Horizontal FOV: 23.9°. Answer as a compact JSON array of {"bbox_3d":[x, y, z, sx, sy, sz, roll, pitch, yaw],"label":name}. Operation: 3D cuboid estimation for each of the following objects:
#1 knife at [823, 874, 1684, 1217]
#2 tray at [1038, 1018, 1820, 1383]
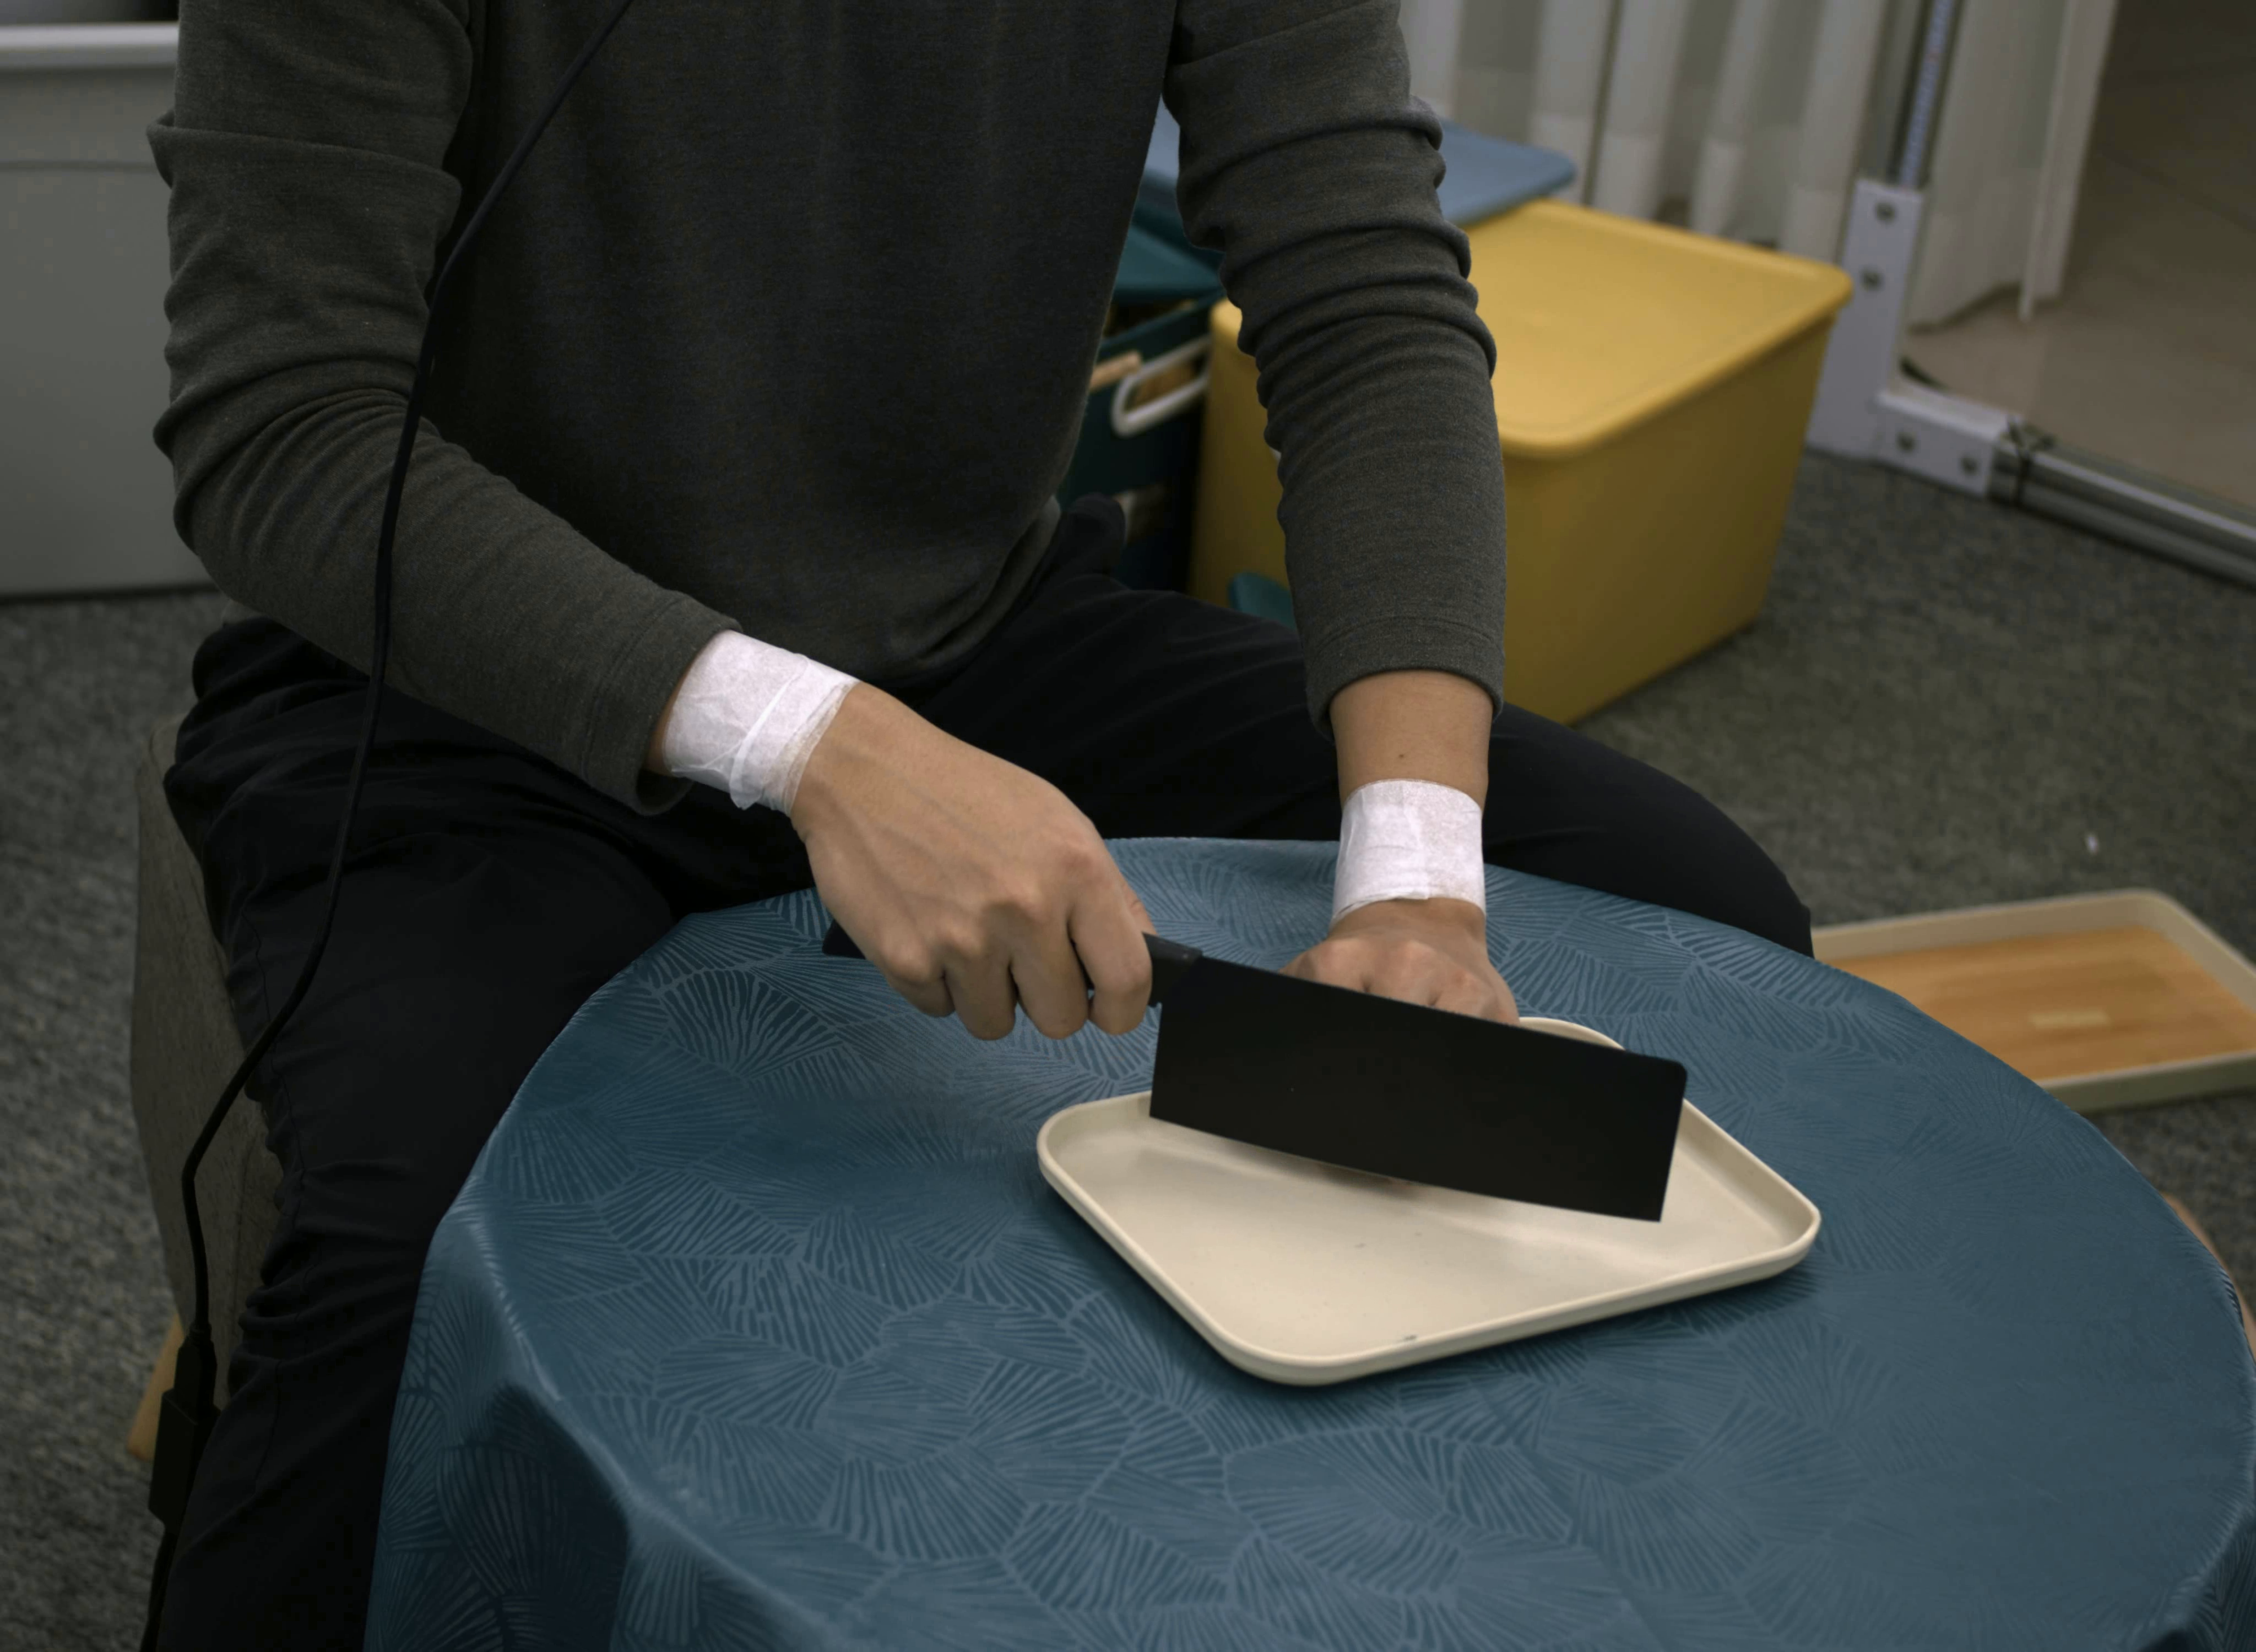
[{"bbox_3d":[0.040,0.072,1.805,0.302,0.081,0.021,16,24,11],"label":"knife"},{"bbox_3d":[0.102,0.126,1.804,0.238,0.017,0.173,-10,30,-29],"label":"tray"}]
